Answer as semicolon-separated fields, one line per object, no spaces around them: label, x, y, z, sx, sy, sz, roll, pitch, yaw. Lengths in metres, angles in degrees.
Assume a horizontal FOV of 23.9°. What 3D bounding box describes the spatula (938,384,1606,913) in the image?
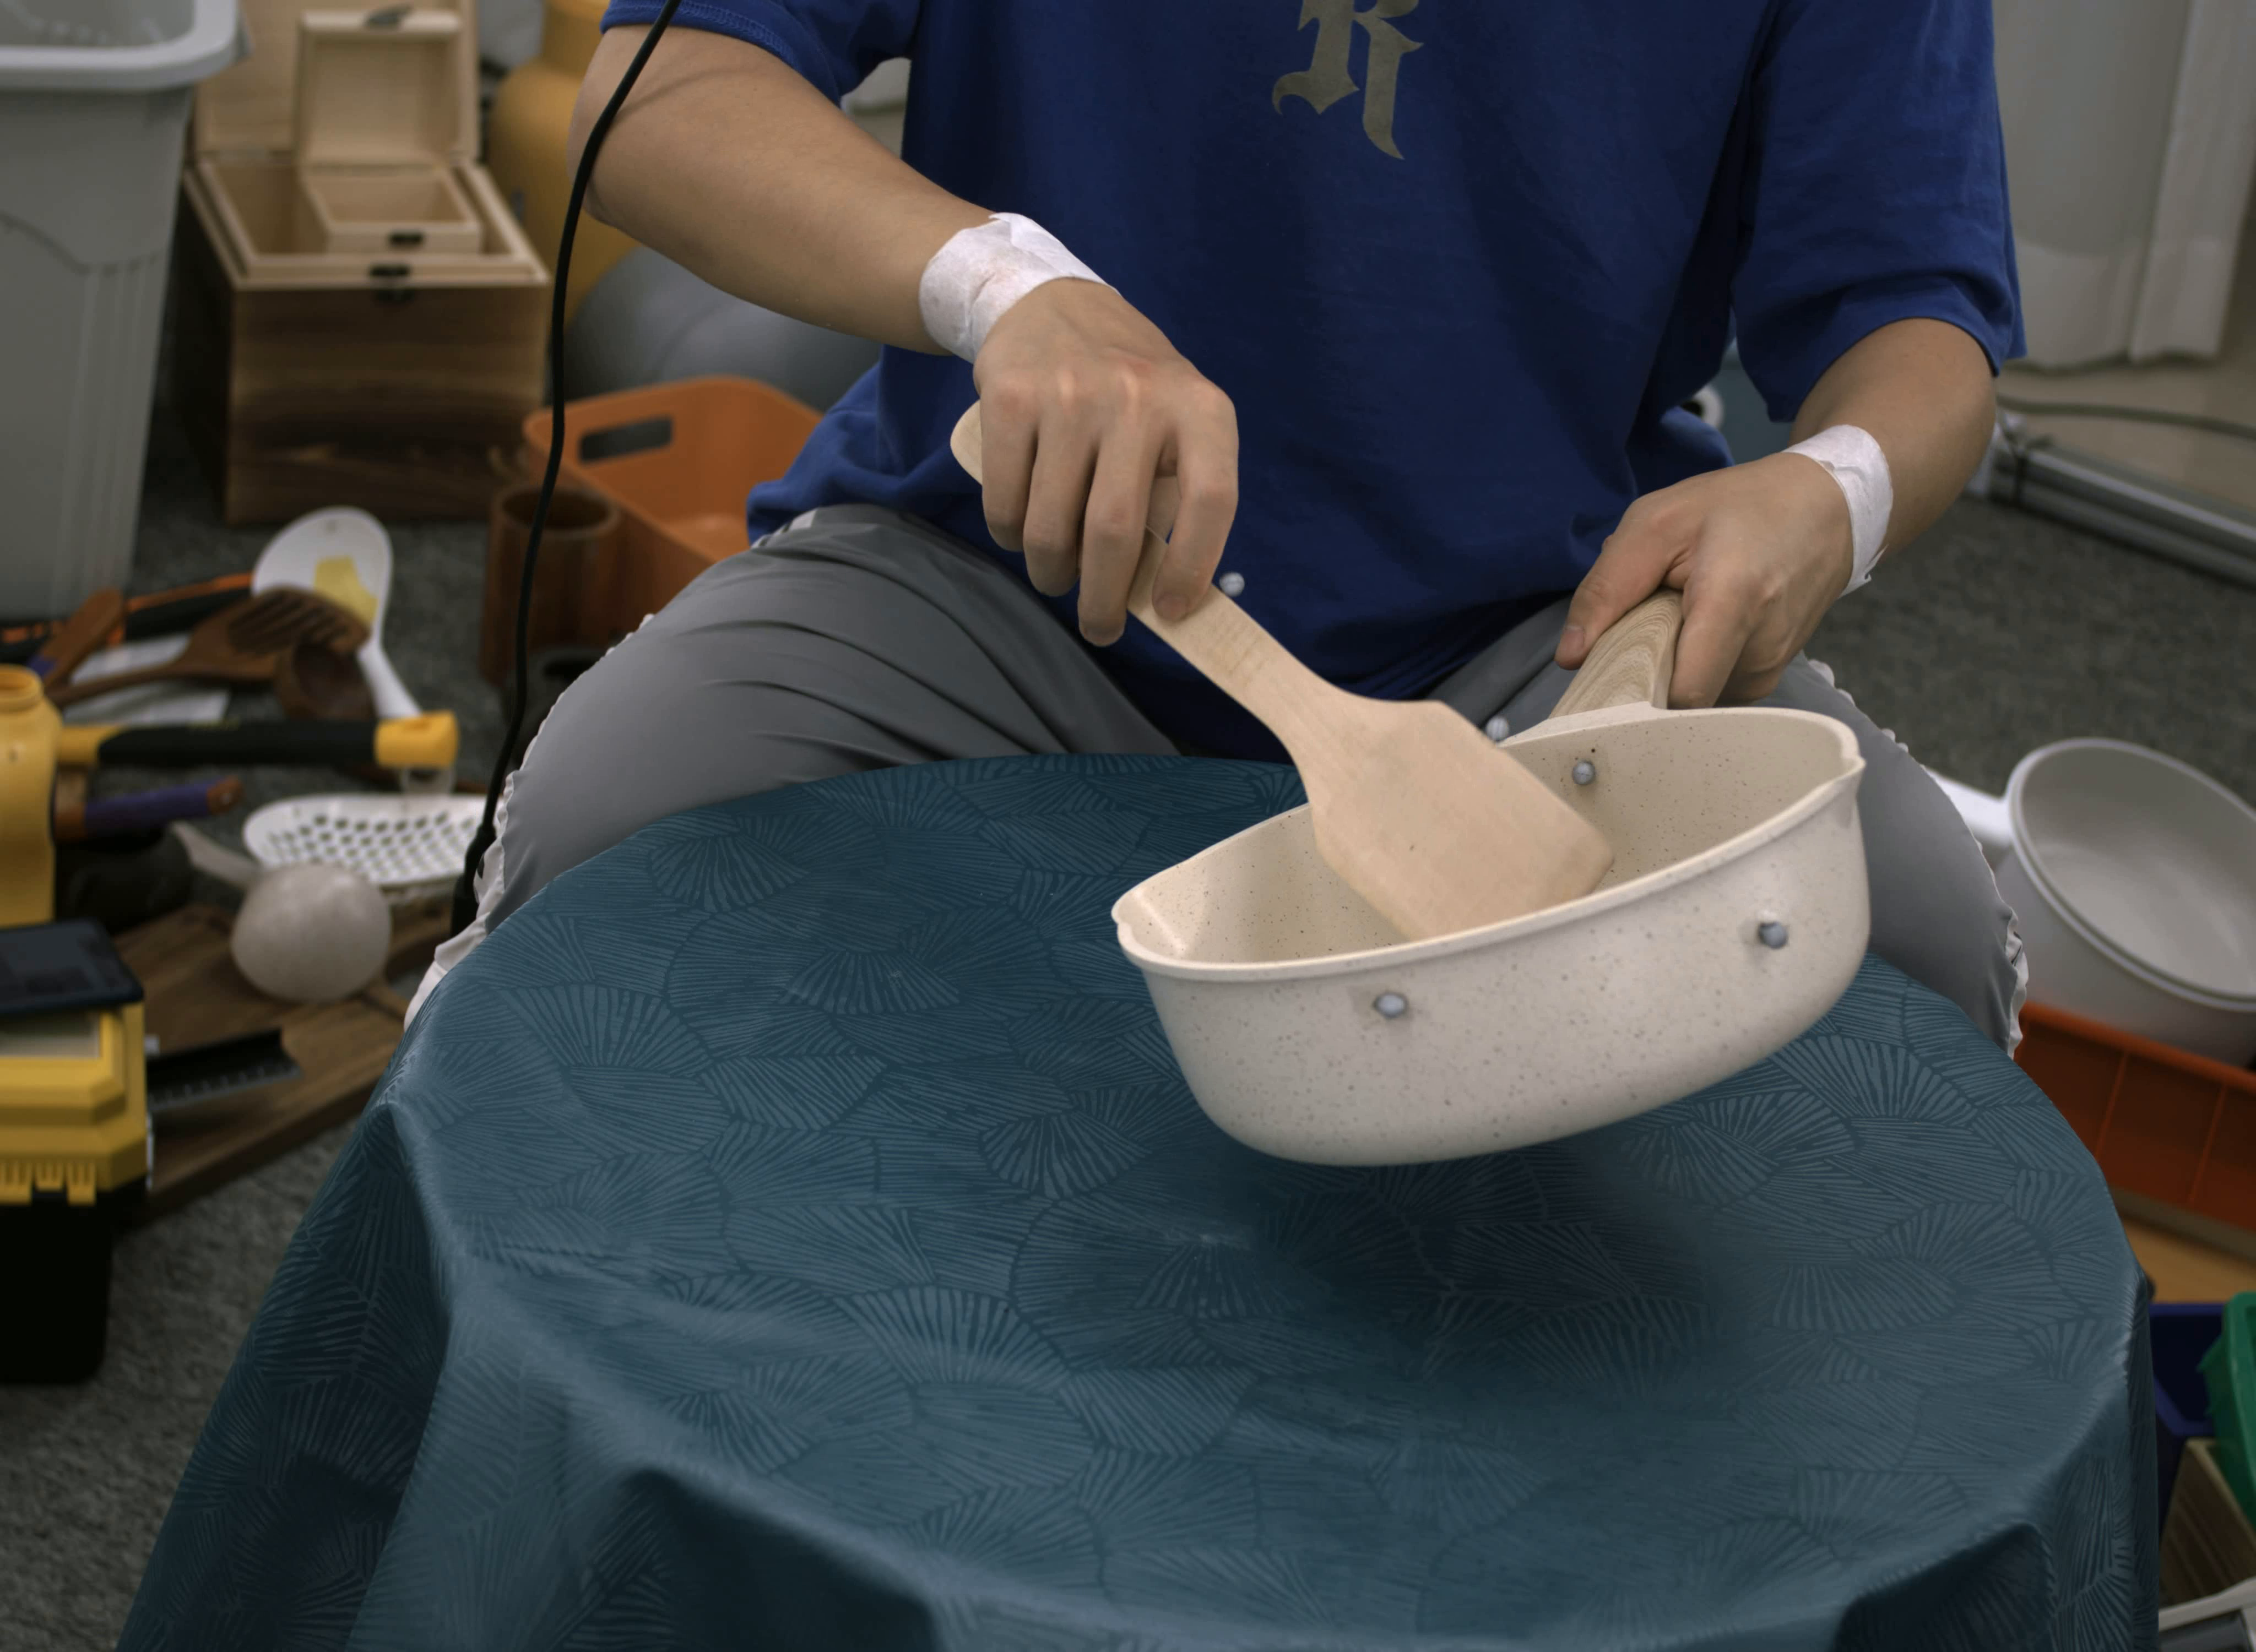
spatula;0.040;-0.065;1.844;0.295;0.072;0.010;40;8;24

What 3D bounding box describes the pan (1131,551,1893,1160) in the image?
pan;0.161;0.004;1.835;0.263;0.102;0.435;-13;12;22
